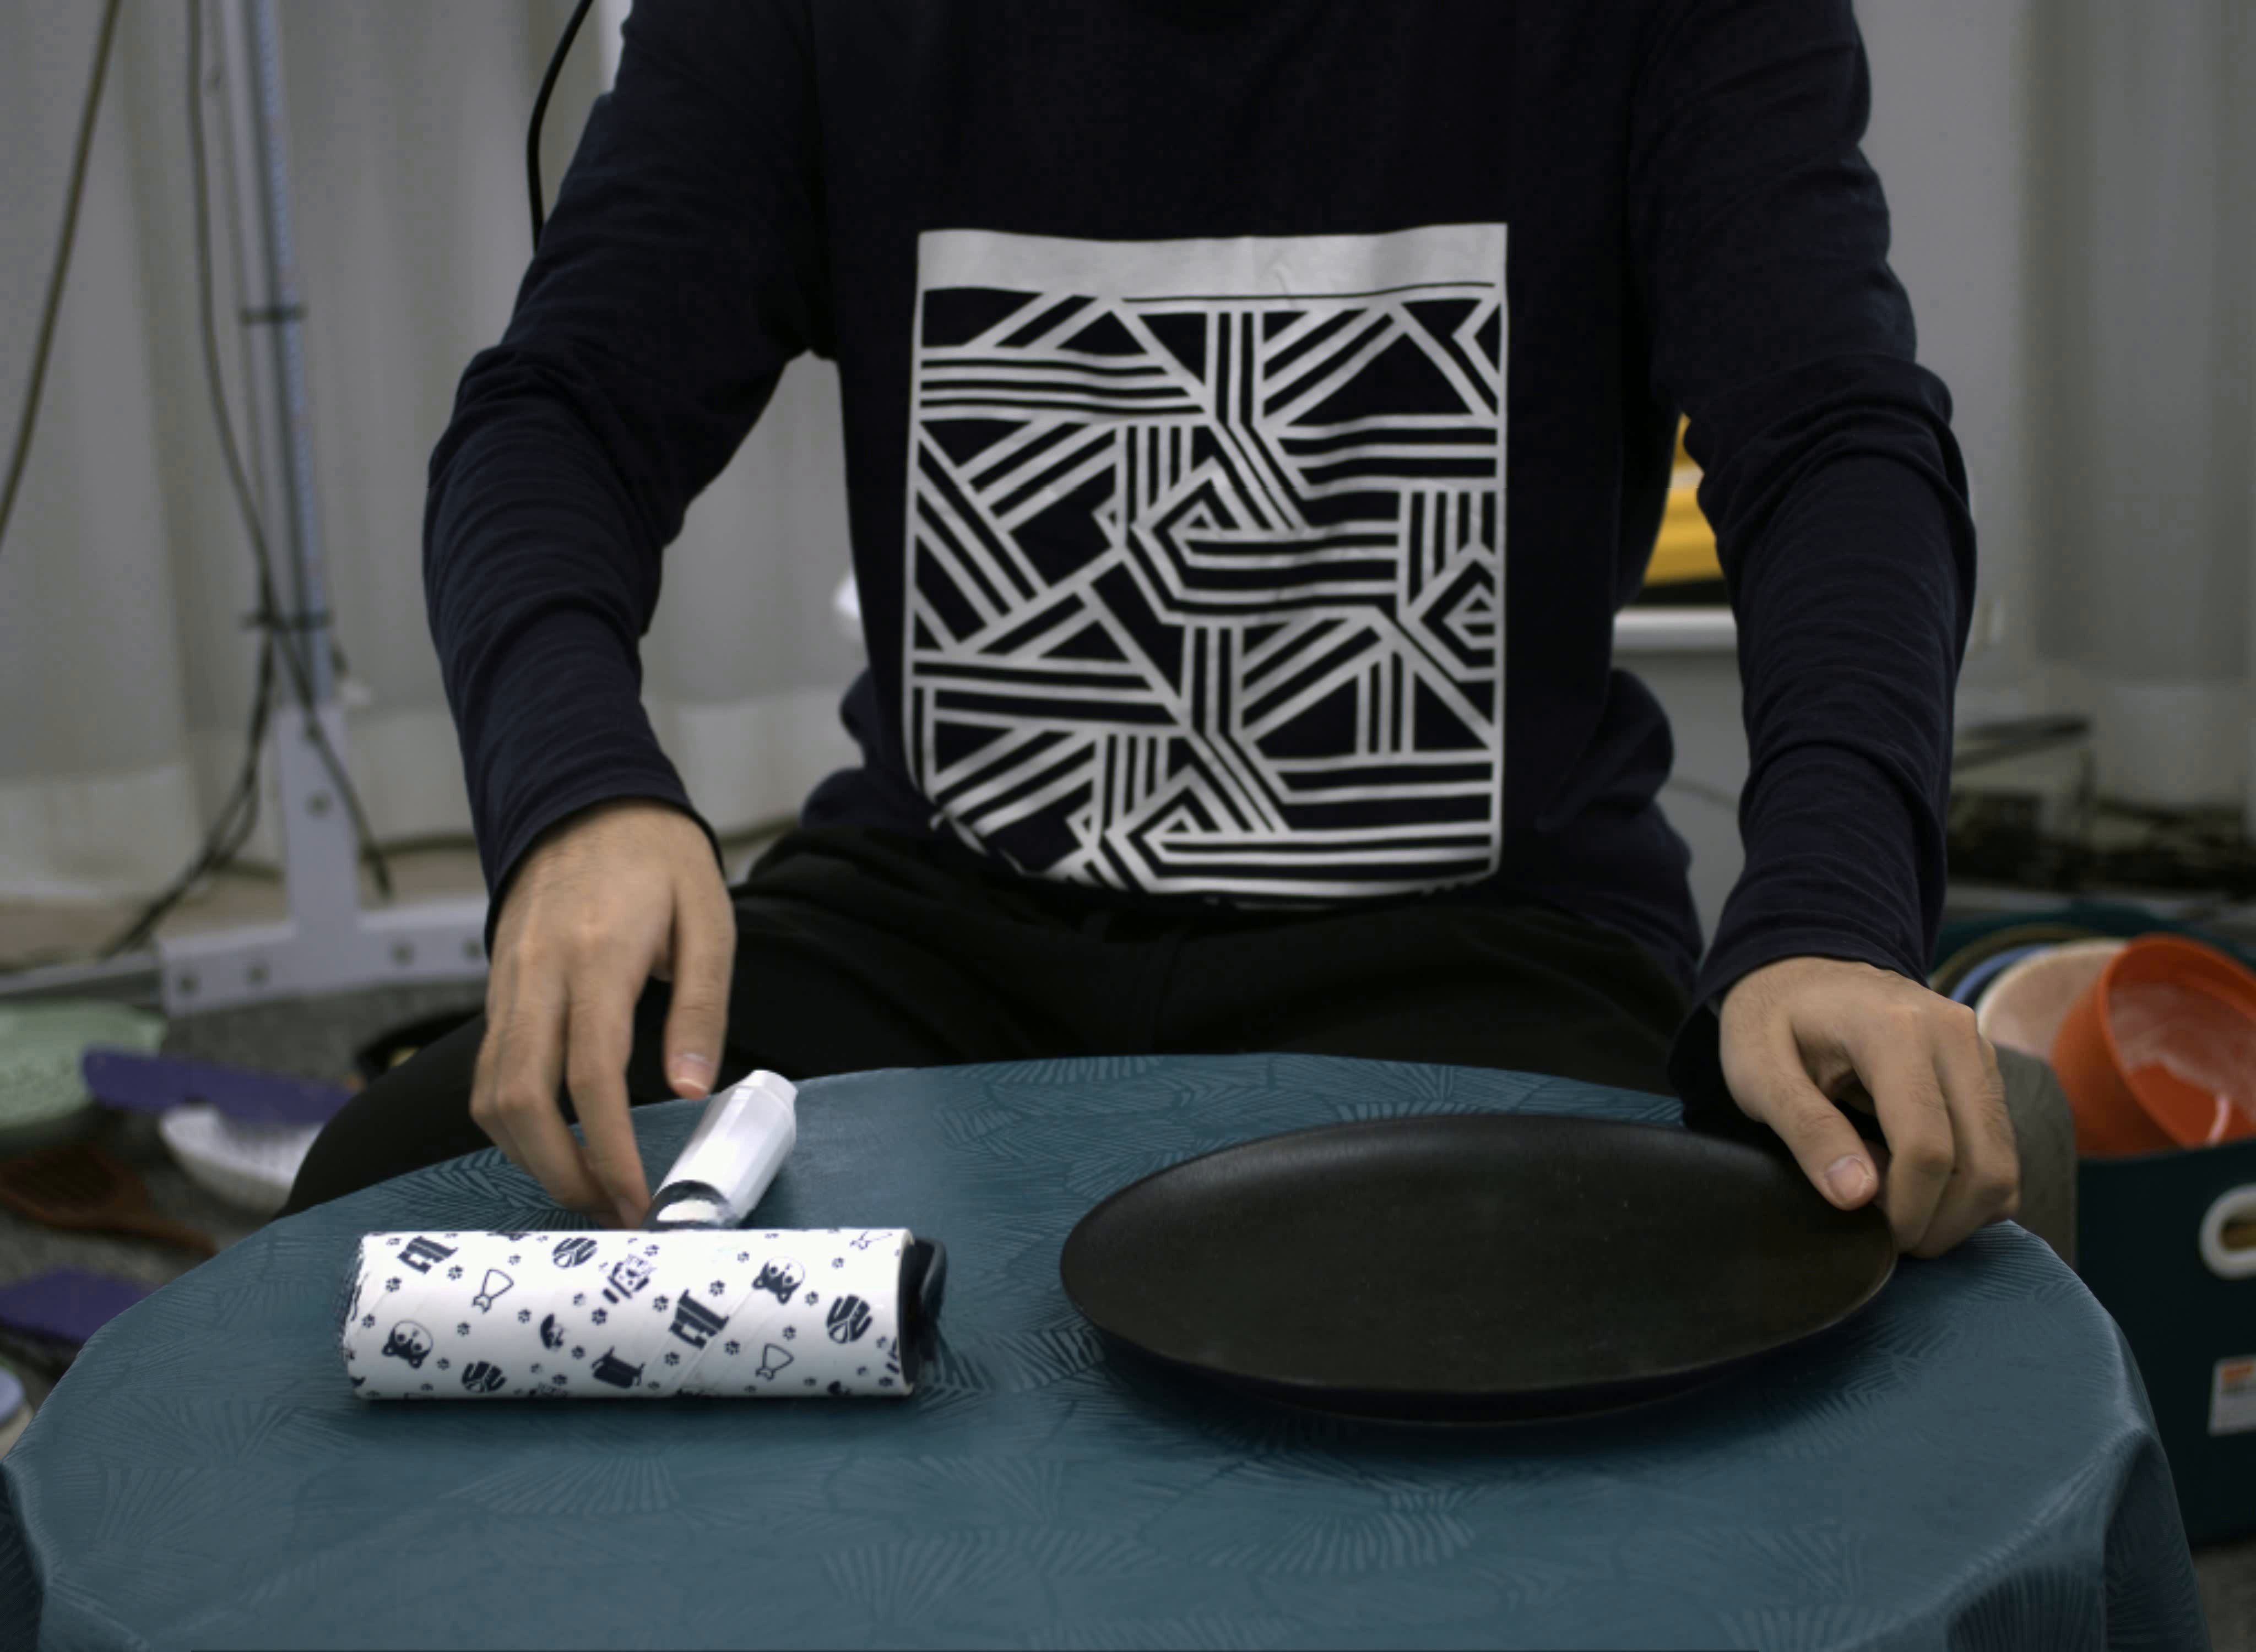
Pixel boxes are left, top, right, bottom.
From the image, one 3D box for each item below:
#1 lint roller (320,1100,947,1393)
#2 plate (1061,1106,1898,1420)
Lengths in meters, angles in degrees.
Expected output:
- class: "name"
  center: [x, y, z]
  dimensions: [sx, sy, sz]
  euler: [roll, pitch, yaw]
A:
- class: "lint roller"
  center: [-0.132, 0.116, 1.657]
  dimensions: [0.176, 0.050, 0.248]
  euler: [-2, 12, 6]
- class: "plate"
  center: [0.102, 0.130, 1.592]
  dimensions: [0.243, 0.023, 0.246]
  euler: [-4, 15, 1]
